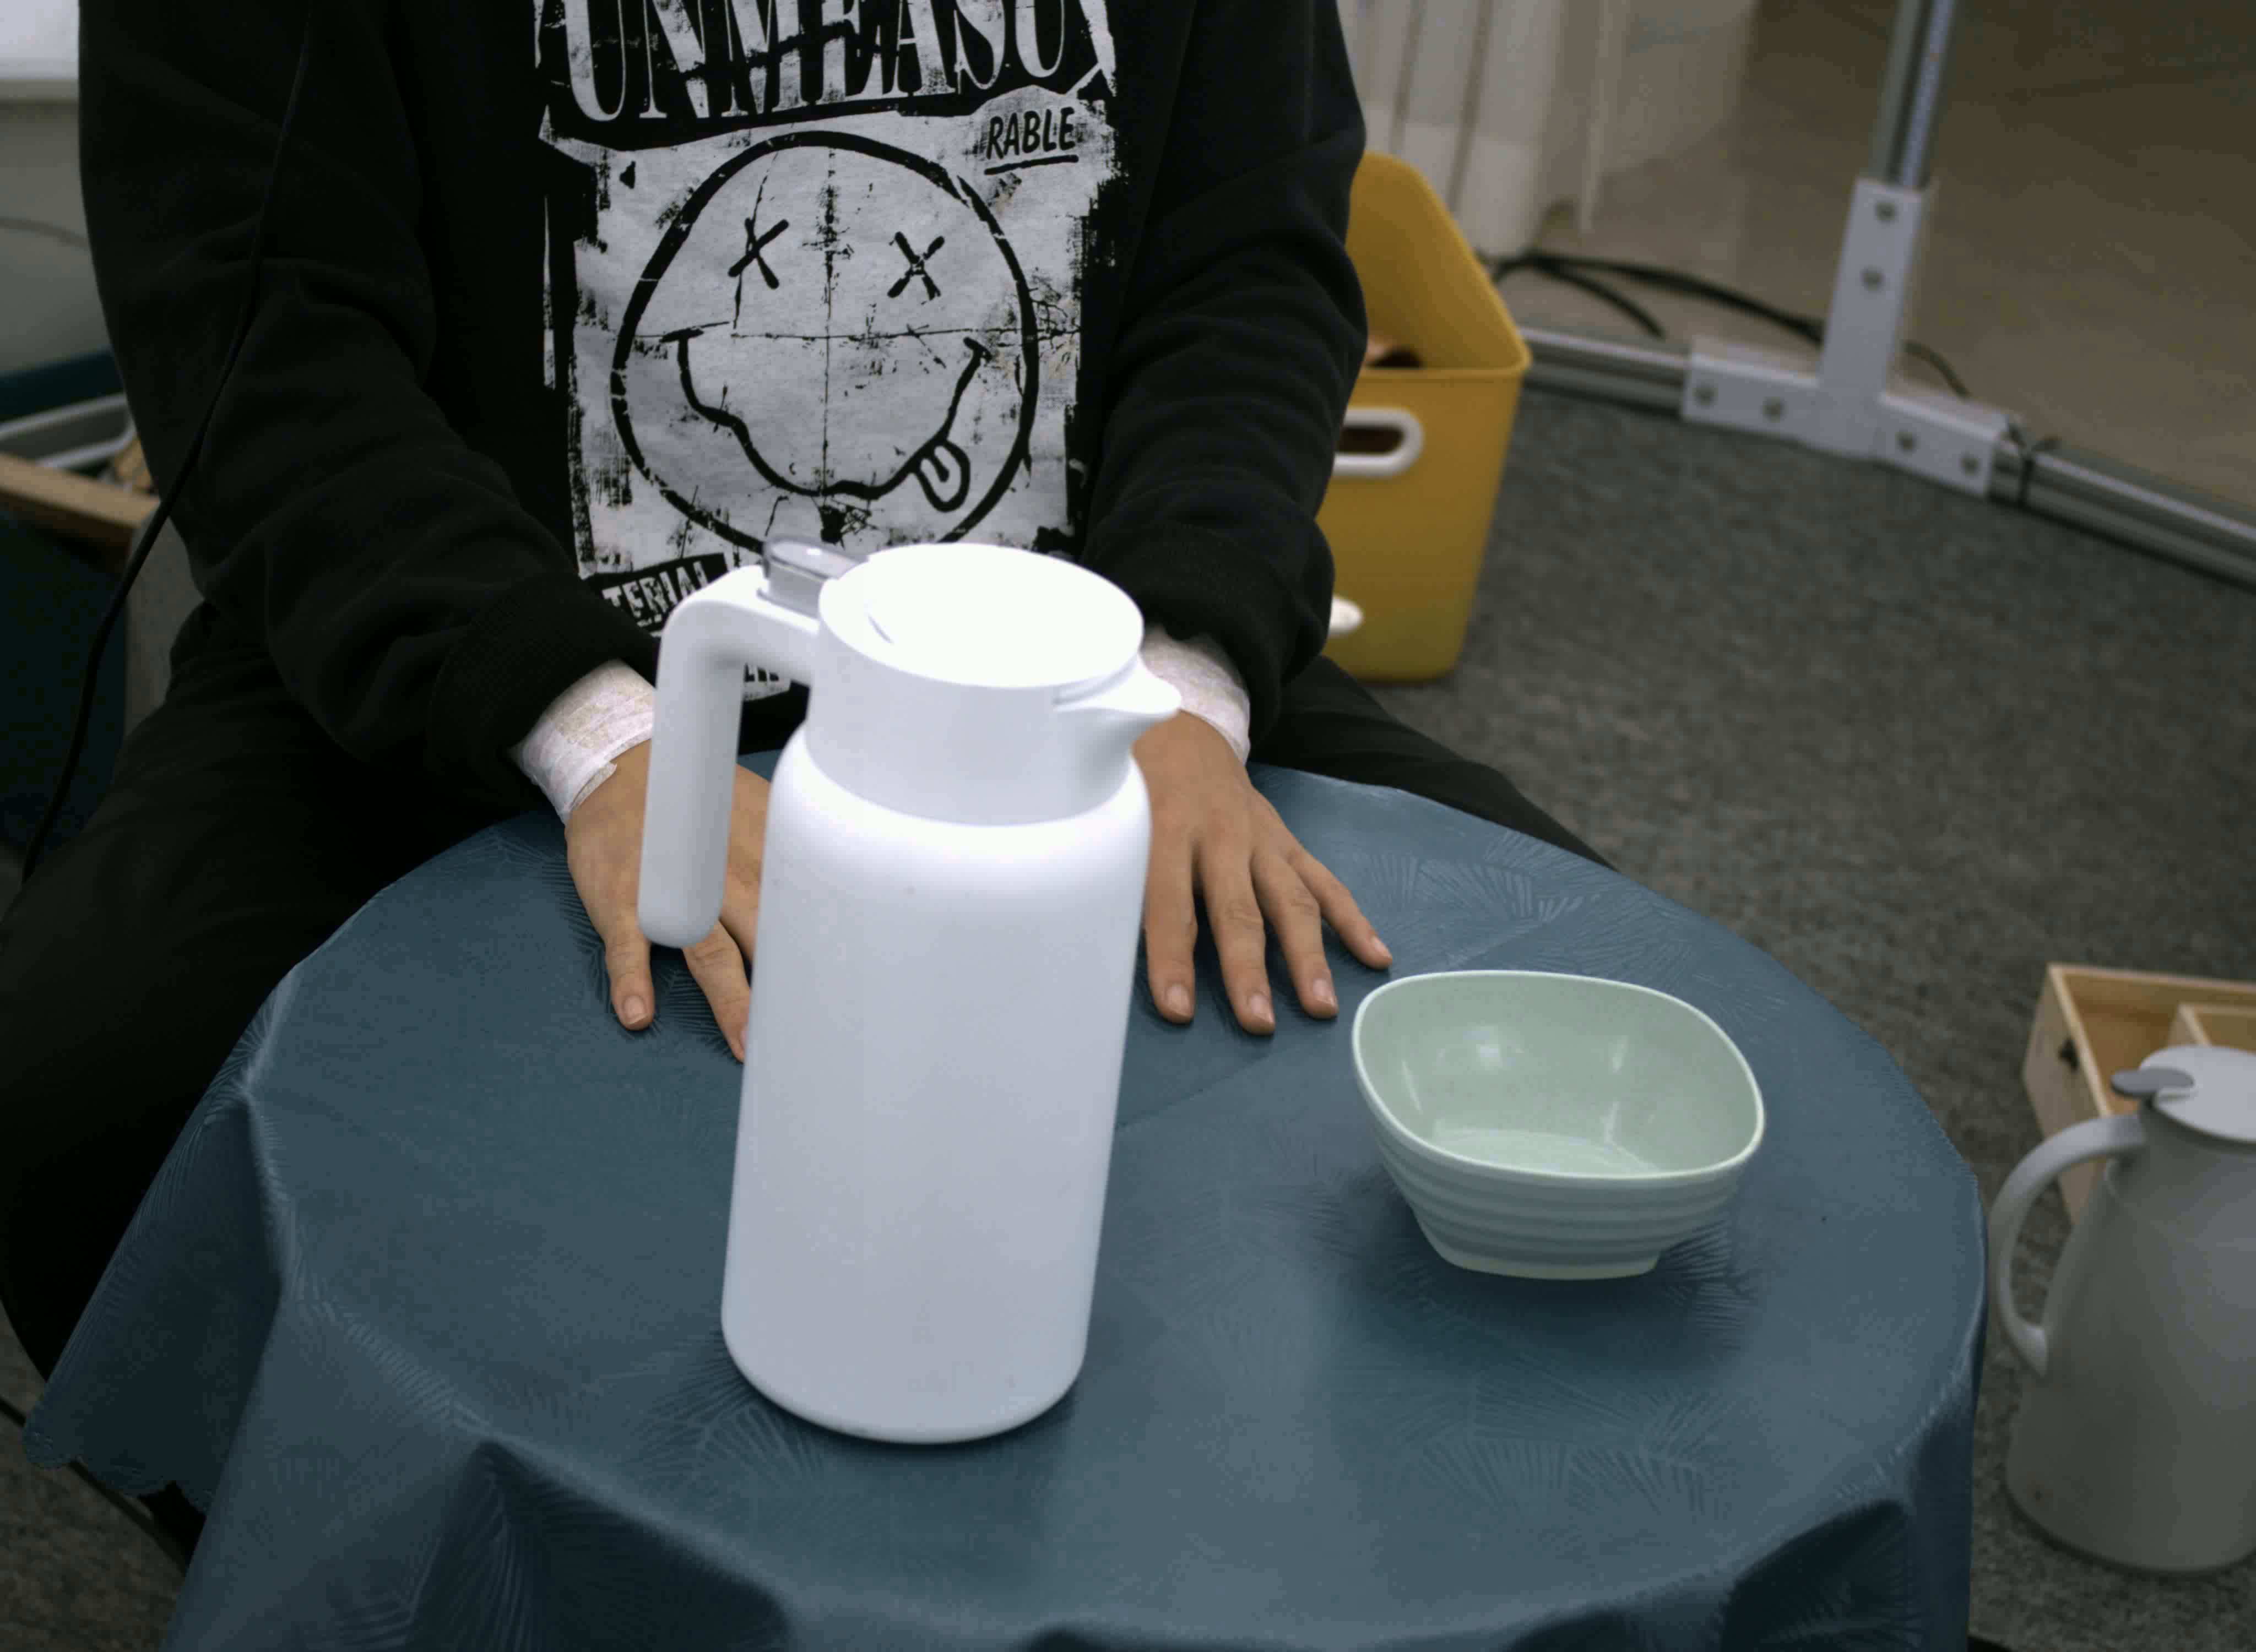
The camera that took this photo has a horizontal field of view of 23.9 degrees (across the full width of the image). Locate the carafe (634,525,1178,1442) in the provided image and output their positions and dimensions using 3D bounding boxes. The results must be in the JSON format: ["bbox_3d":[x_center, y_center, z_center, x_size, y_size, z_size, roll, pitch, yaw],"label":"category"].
[{"bbox_3d":[-0.075,0.046,1.647,0.173,0.268,0.124,19,31,23],"label":"carafe"}]

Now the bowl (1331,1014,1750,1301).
[{"bbox_3d":[0.137,0.117,1.805,0.151,0.058,0.152,3,21,-1],"label":"bowl"}]
